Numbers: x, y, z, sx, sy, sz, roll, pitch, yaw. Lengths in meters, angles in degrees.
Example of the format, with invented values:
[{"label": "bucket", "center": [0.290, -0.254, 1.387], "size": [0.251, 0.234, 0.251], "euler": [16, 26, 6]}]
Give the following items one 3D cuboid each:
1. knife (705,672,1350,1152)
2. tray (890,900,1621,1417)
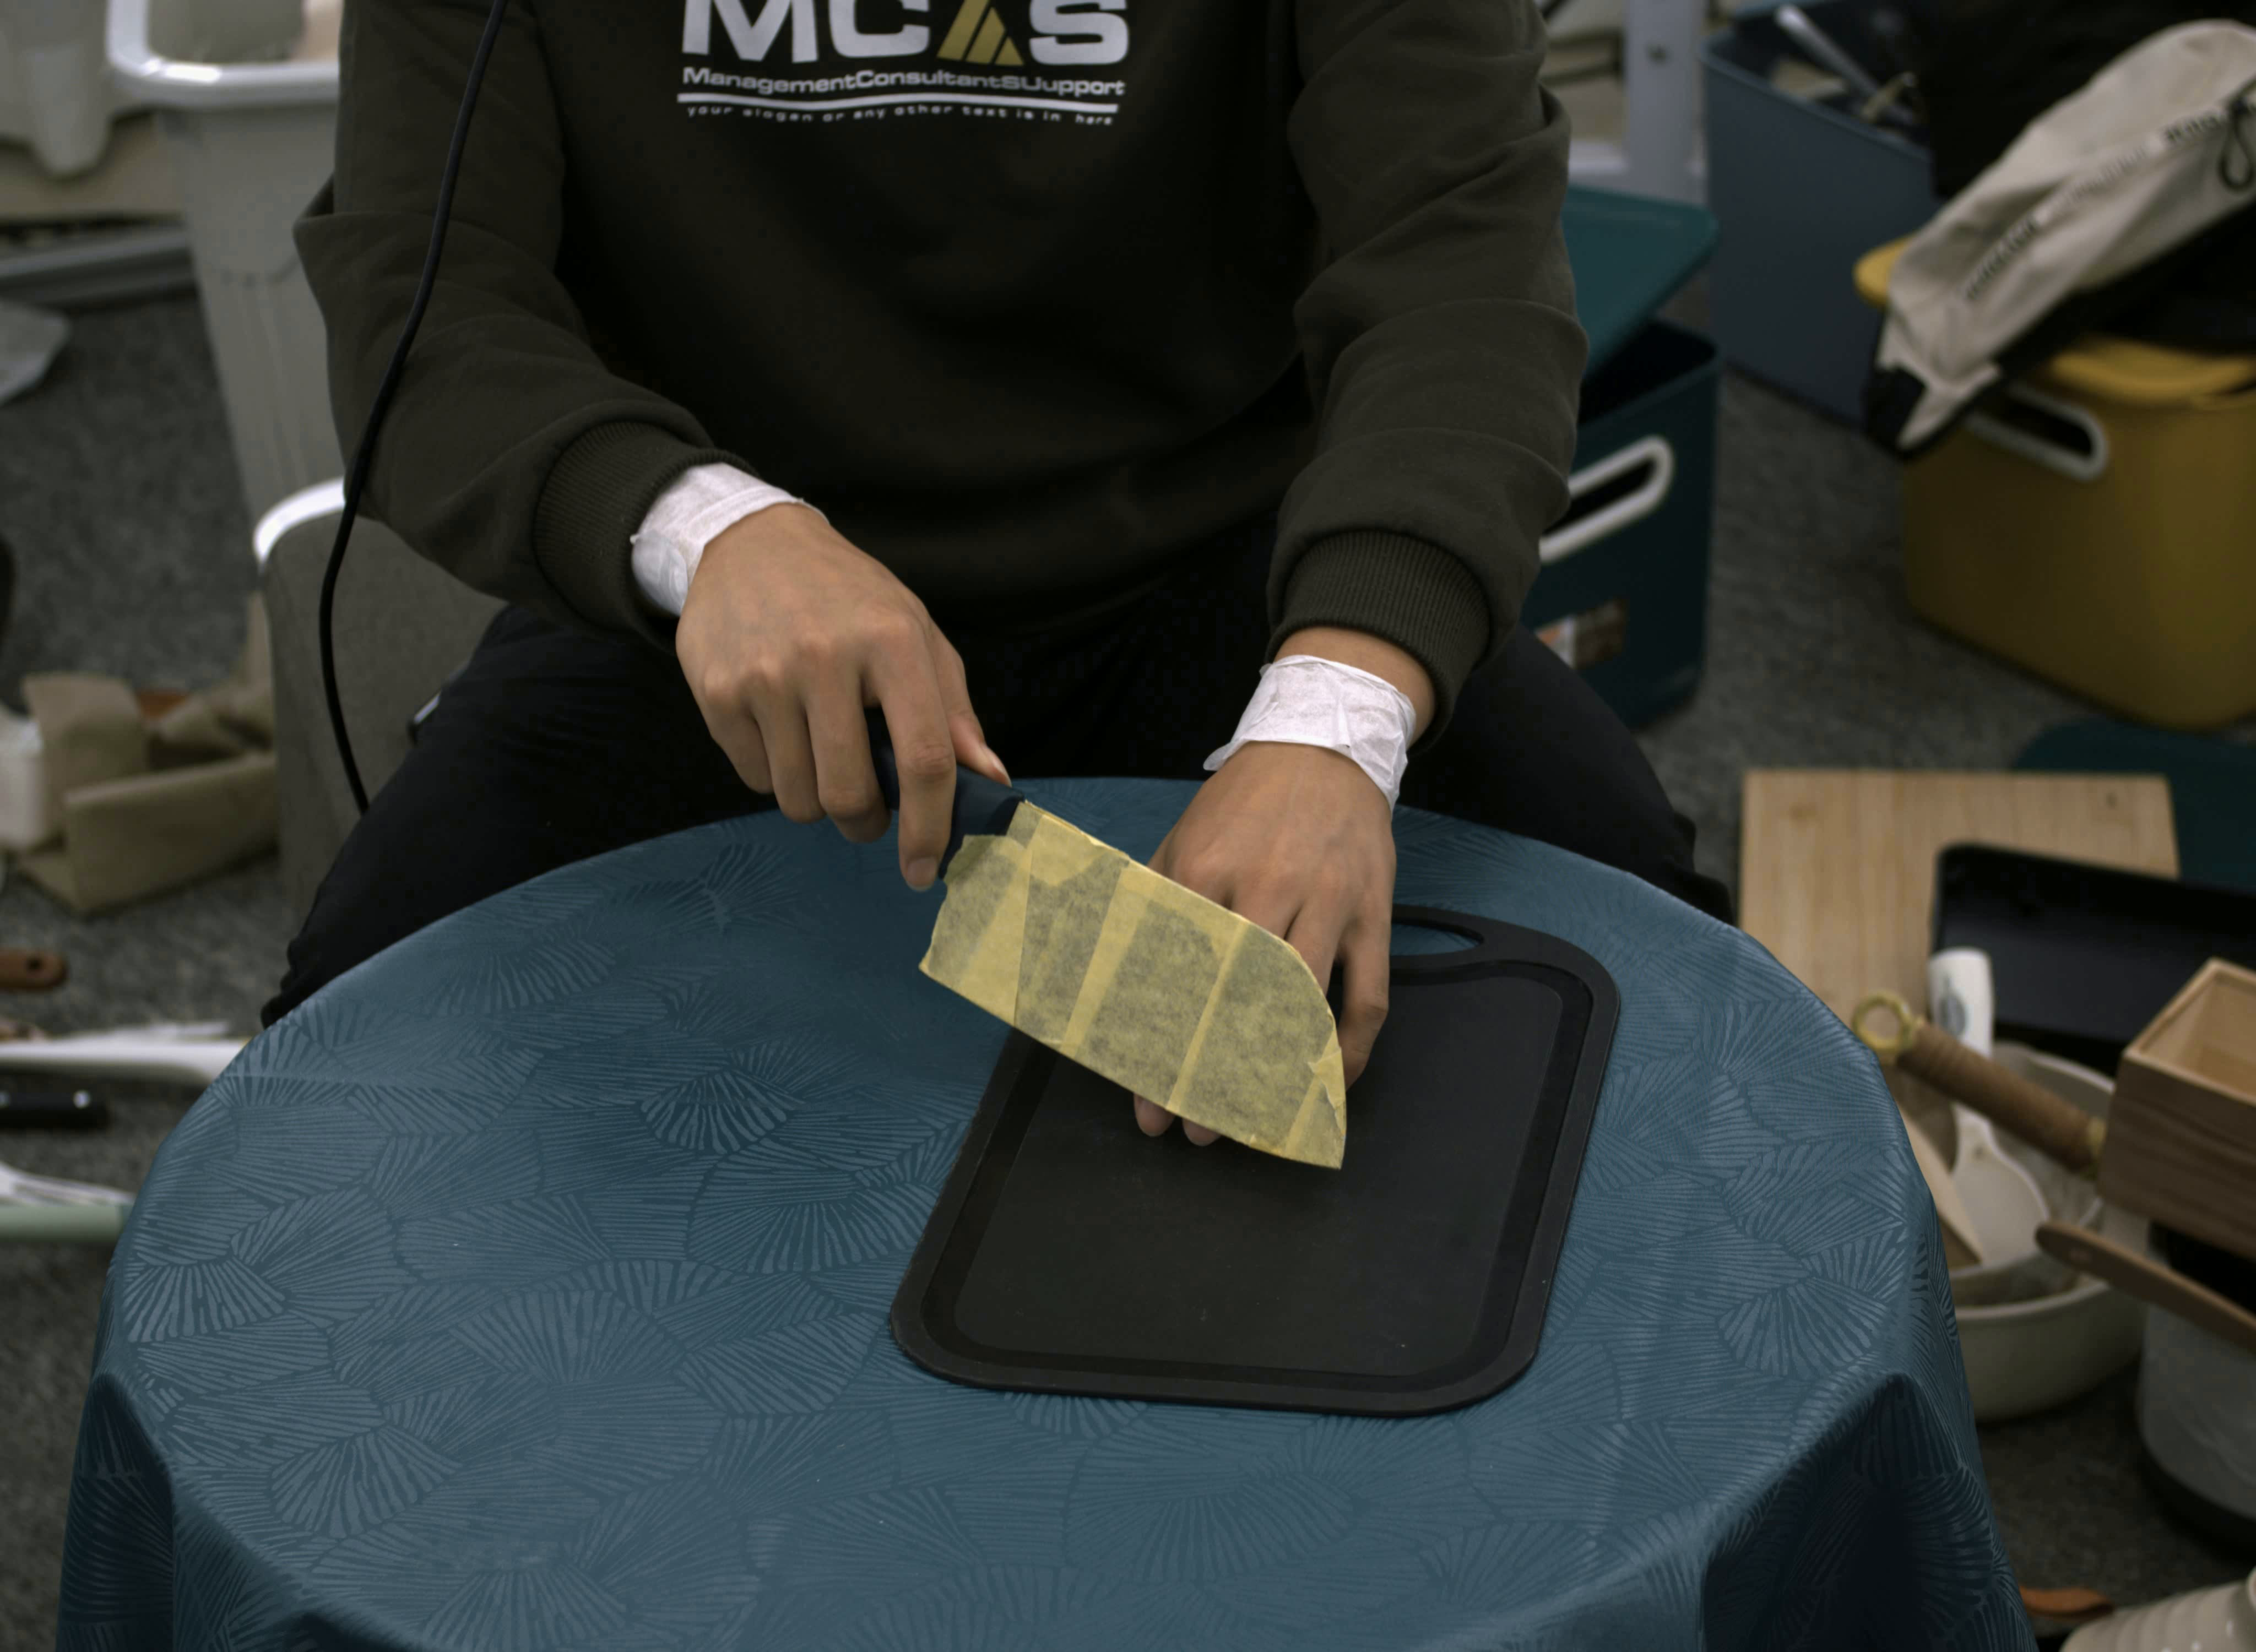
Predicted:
[{"label": "knife", "center": [-0.038, 0.027, 1.904], "size": [0.290, 0.080, 0.027], "euler": [32, 14, 27]}, {"label": "tray", "center": [0.049, 0.102, 1.886], "size": [0.210, 0.009, 0.331], "euler": [3, 28, 11]}]
